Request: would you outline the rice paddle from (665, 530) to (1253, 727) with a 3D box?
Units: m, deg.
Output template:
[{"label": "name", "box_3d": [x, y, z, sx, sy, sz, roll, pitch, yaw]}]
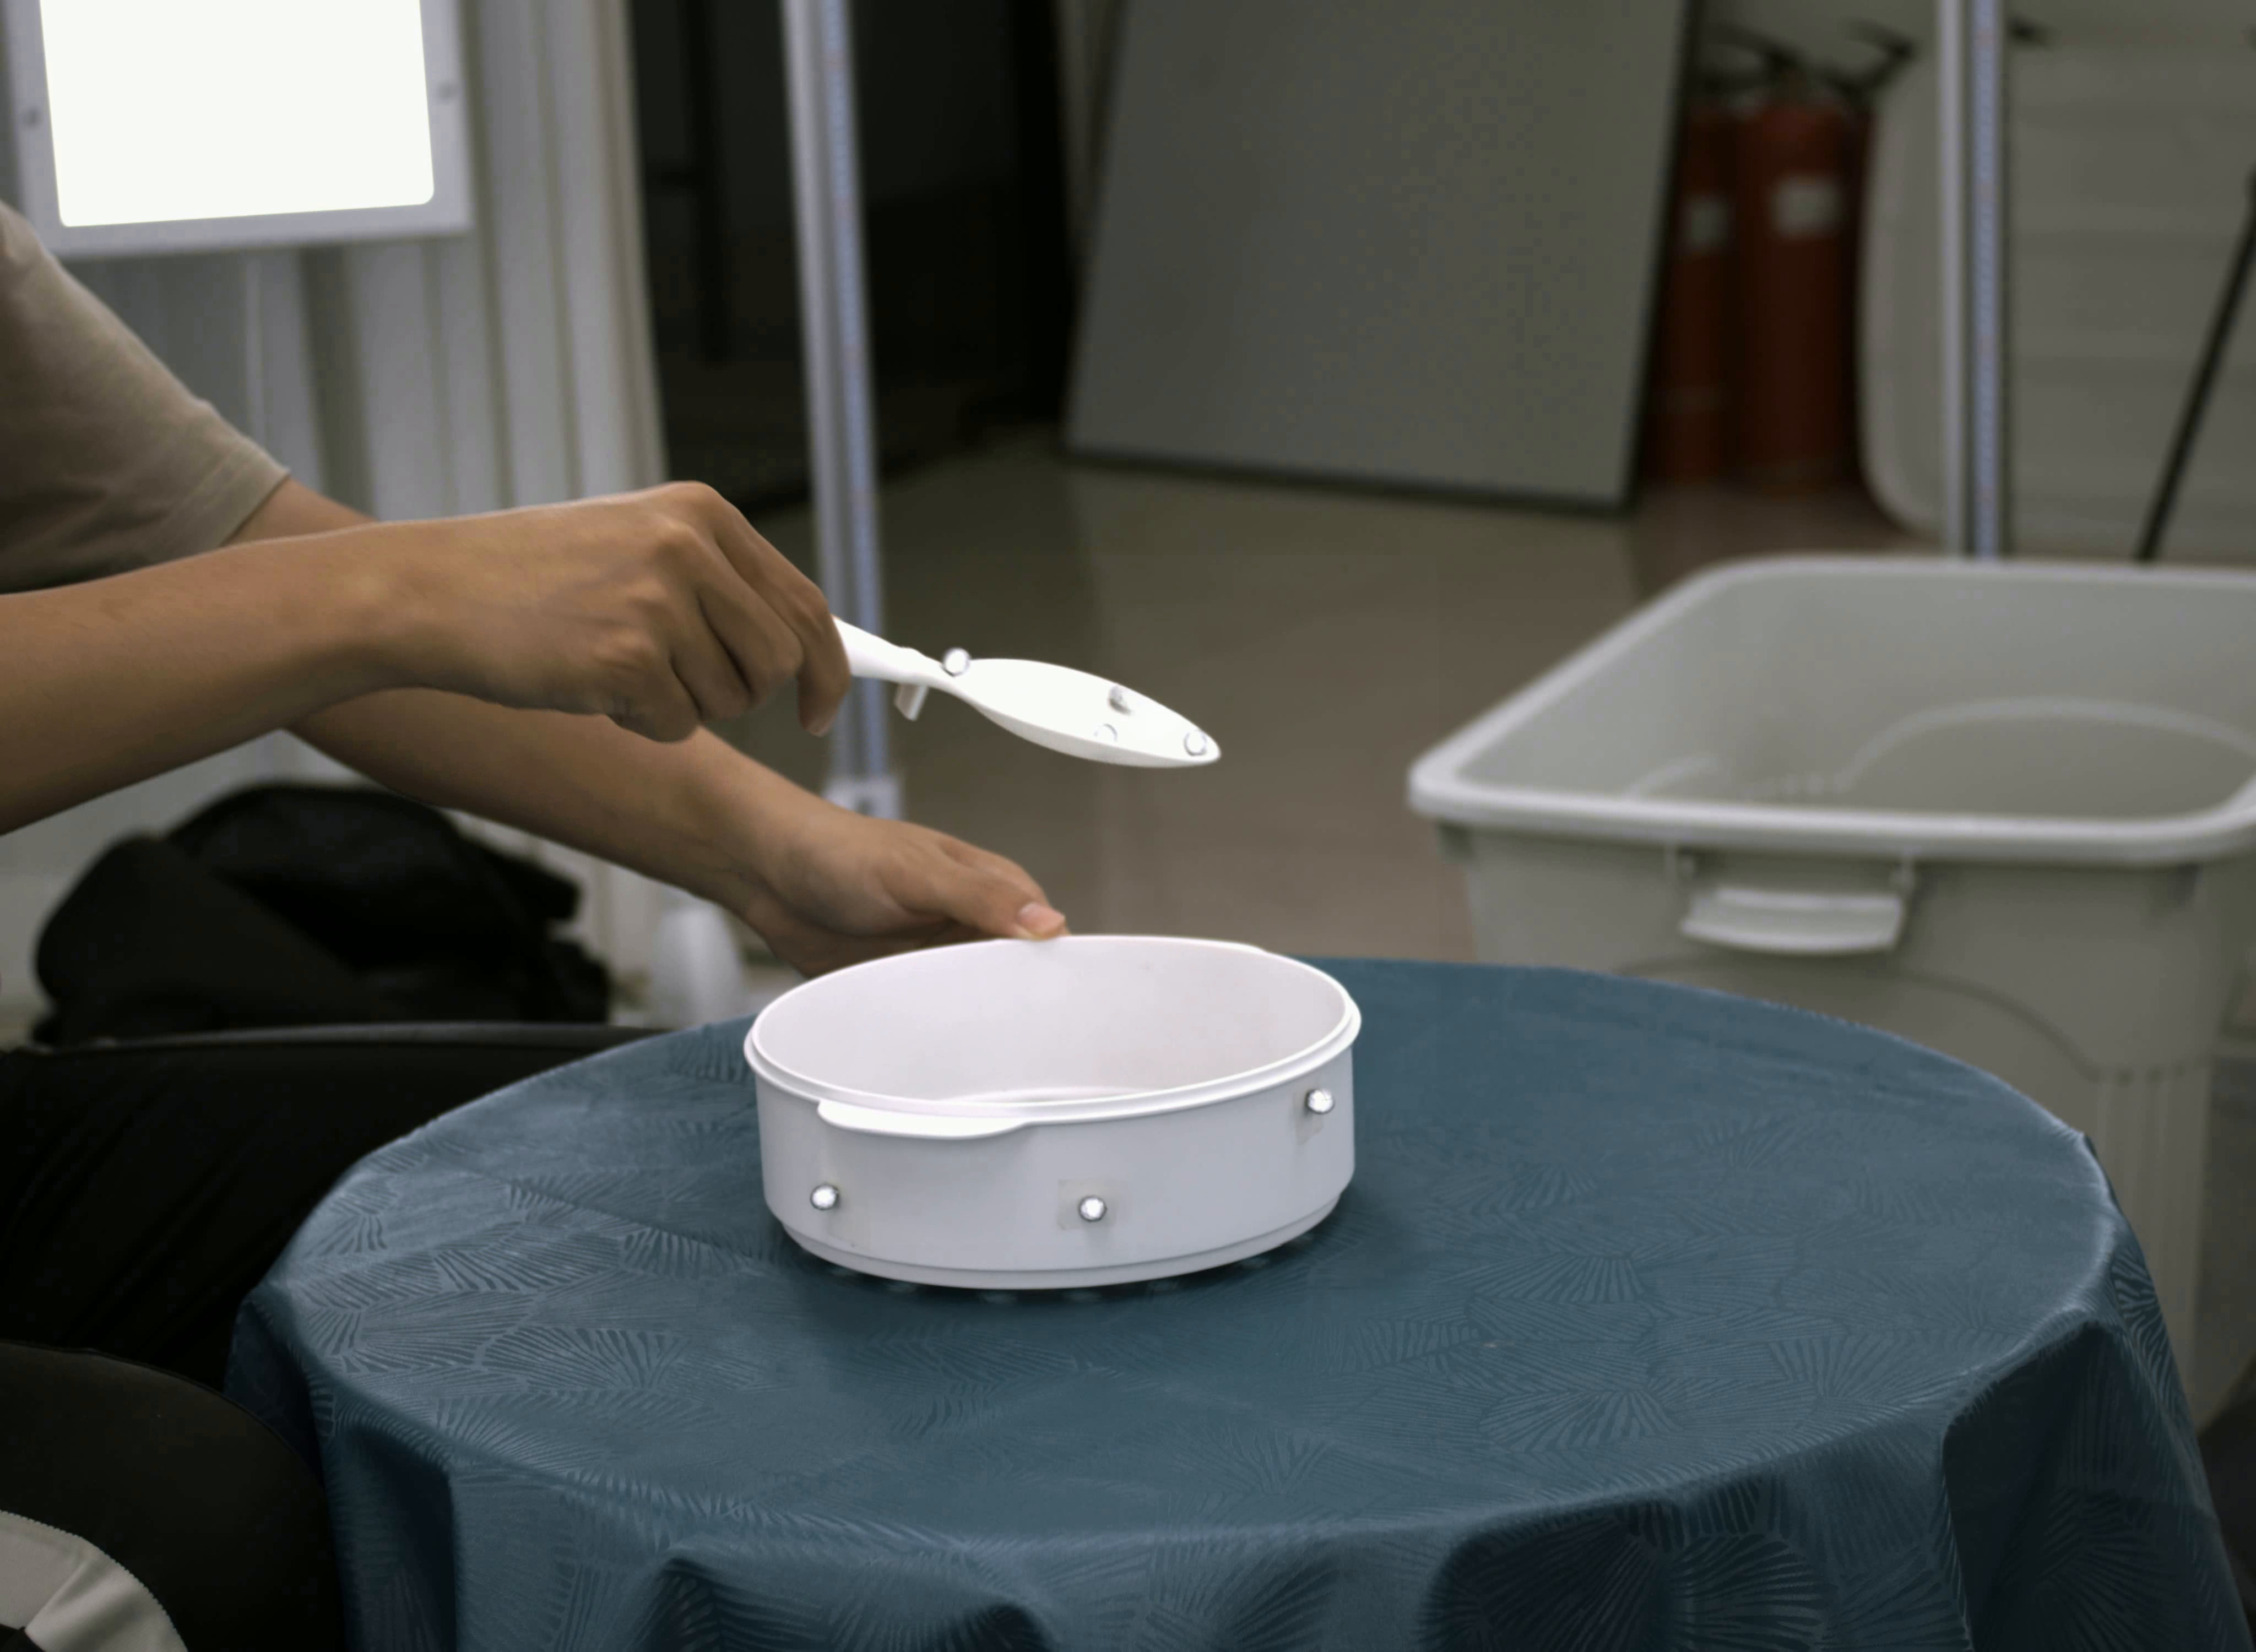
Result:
[{"label": "rice paddle", "box_3d": [-0.048, -0.060, 1.696, 0.200, 0.030, 0.069, 11, 20, -28]}]

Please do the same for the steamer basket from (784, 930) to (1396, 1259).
[{"label": "steamer basket", "box_3d": [-0.012, 0.087, 1.757, 0.202, 0.070, 0.227, 3, 12, 26]}]
